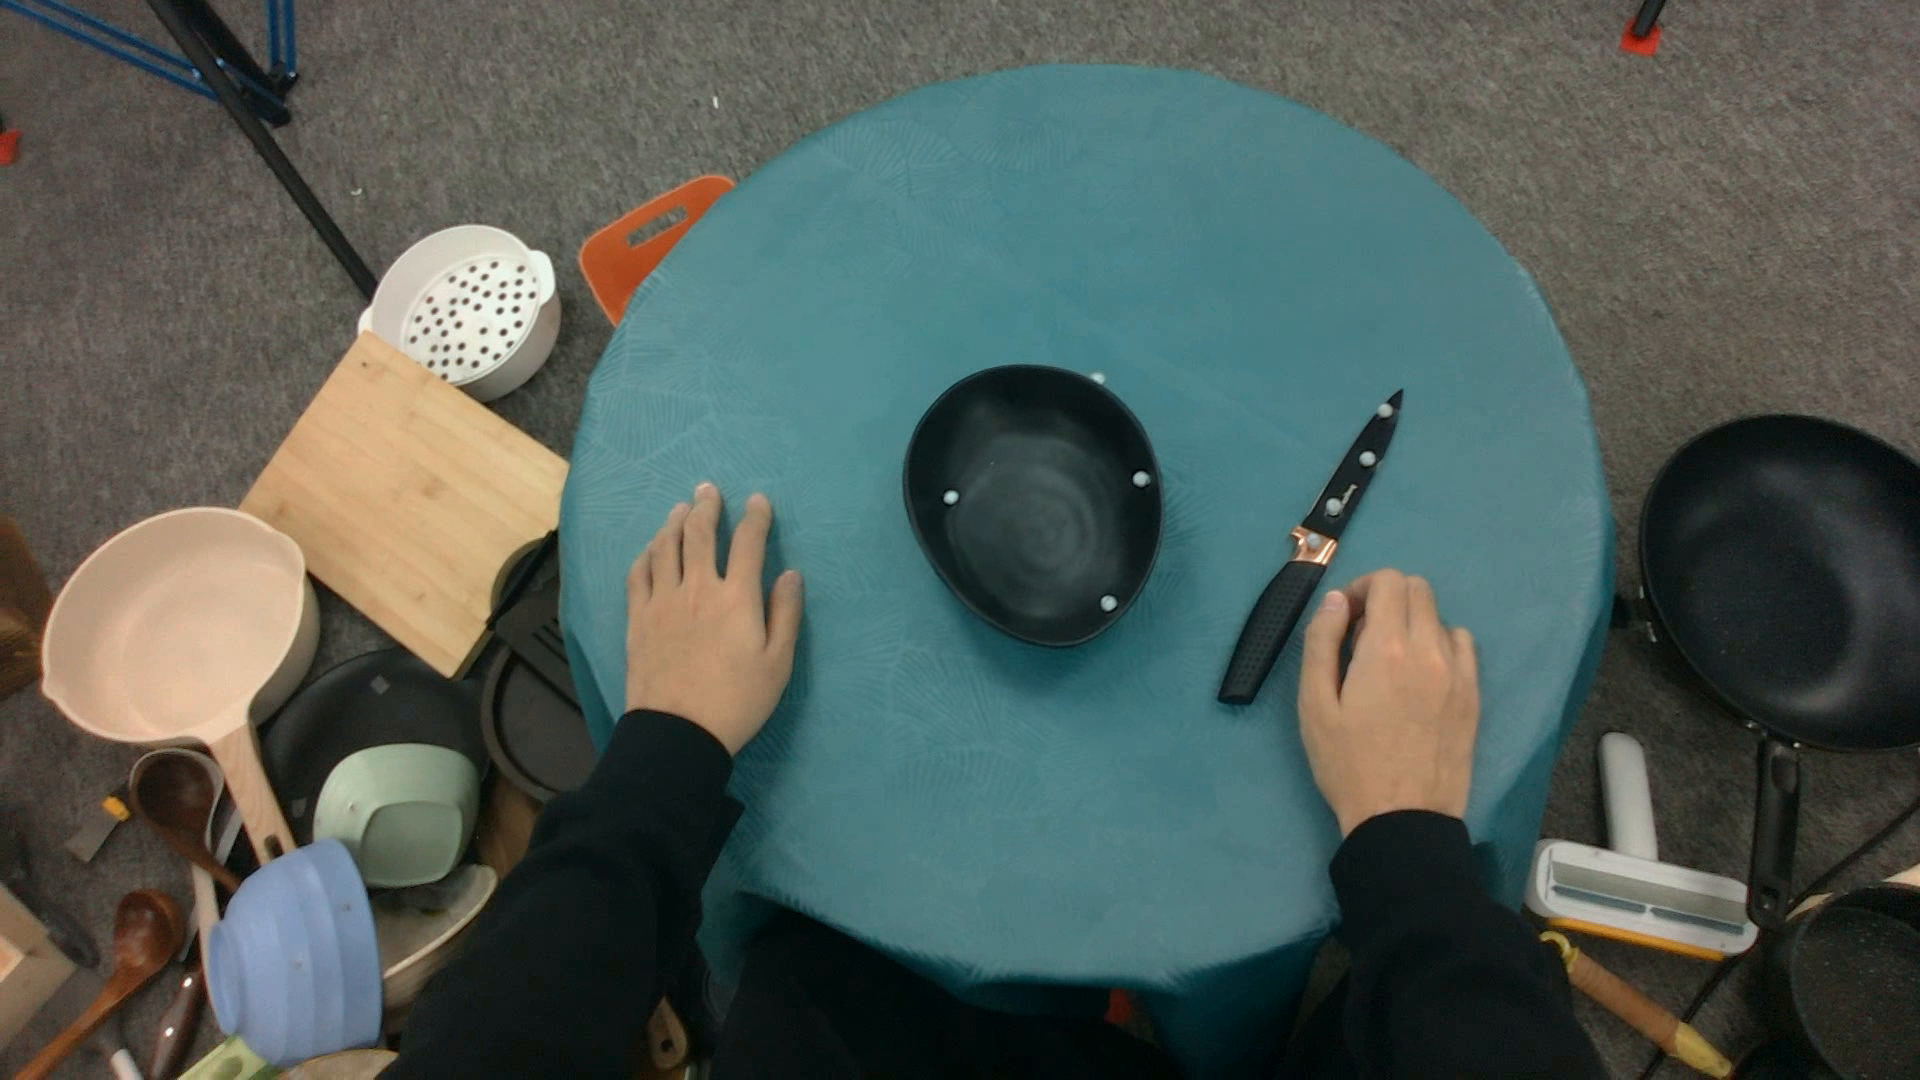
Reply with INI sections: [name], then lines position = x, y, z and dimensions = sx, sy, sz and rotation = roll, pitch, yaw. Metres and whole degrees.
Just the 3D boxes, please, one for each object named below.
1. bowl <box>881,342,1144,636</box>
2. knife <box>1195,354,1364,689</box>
[bowl]
position = 0.031, -0.024, 0.753
dimensions = 0.137, 0.066, 0.171
rotation = -17, 67, -3
[knife]
position = 0.184, -0.015, 0.764
dimensions = 0.026, 0.017, 0.226
rotation = 27, 69, 12
